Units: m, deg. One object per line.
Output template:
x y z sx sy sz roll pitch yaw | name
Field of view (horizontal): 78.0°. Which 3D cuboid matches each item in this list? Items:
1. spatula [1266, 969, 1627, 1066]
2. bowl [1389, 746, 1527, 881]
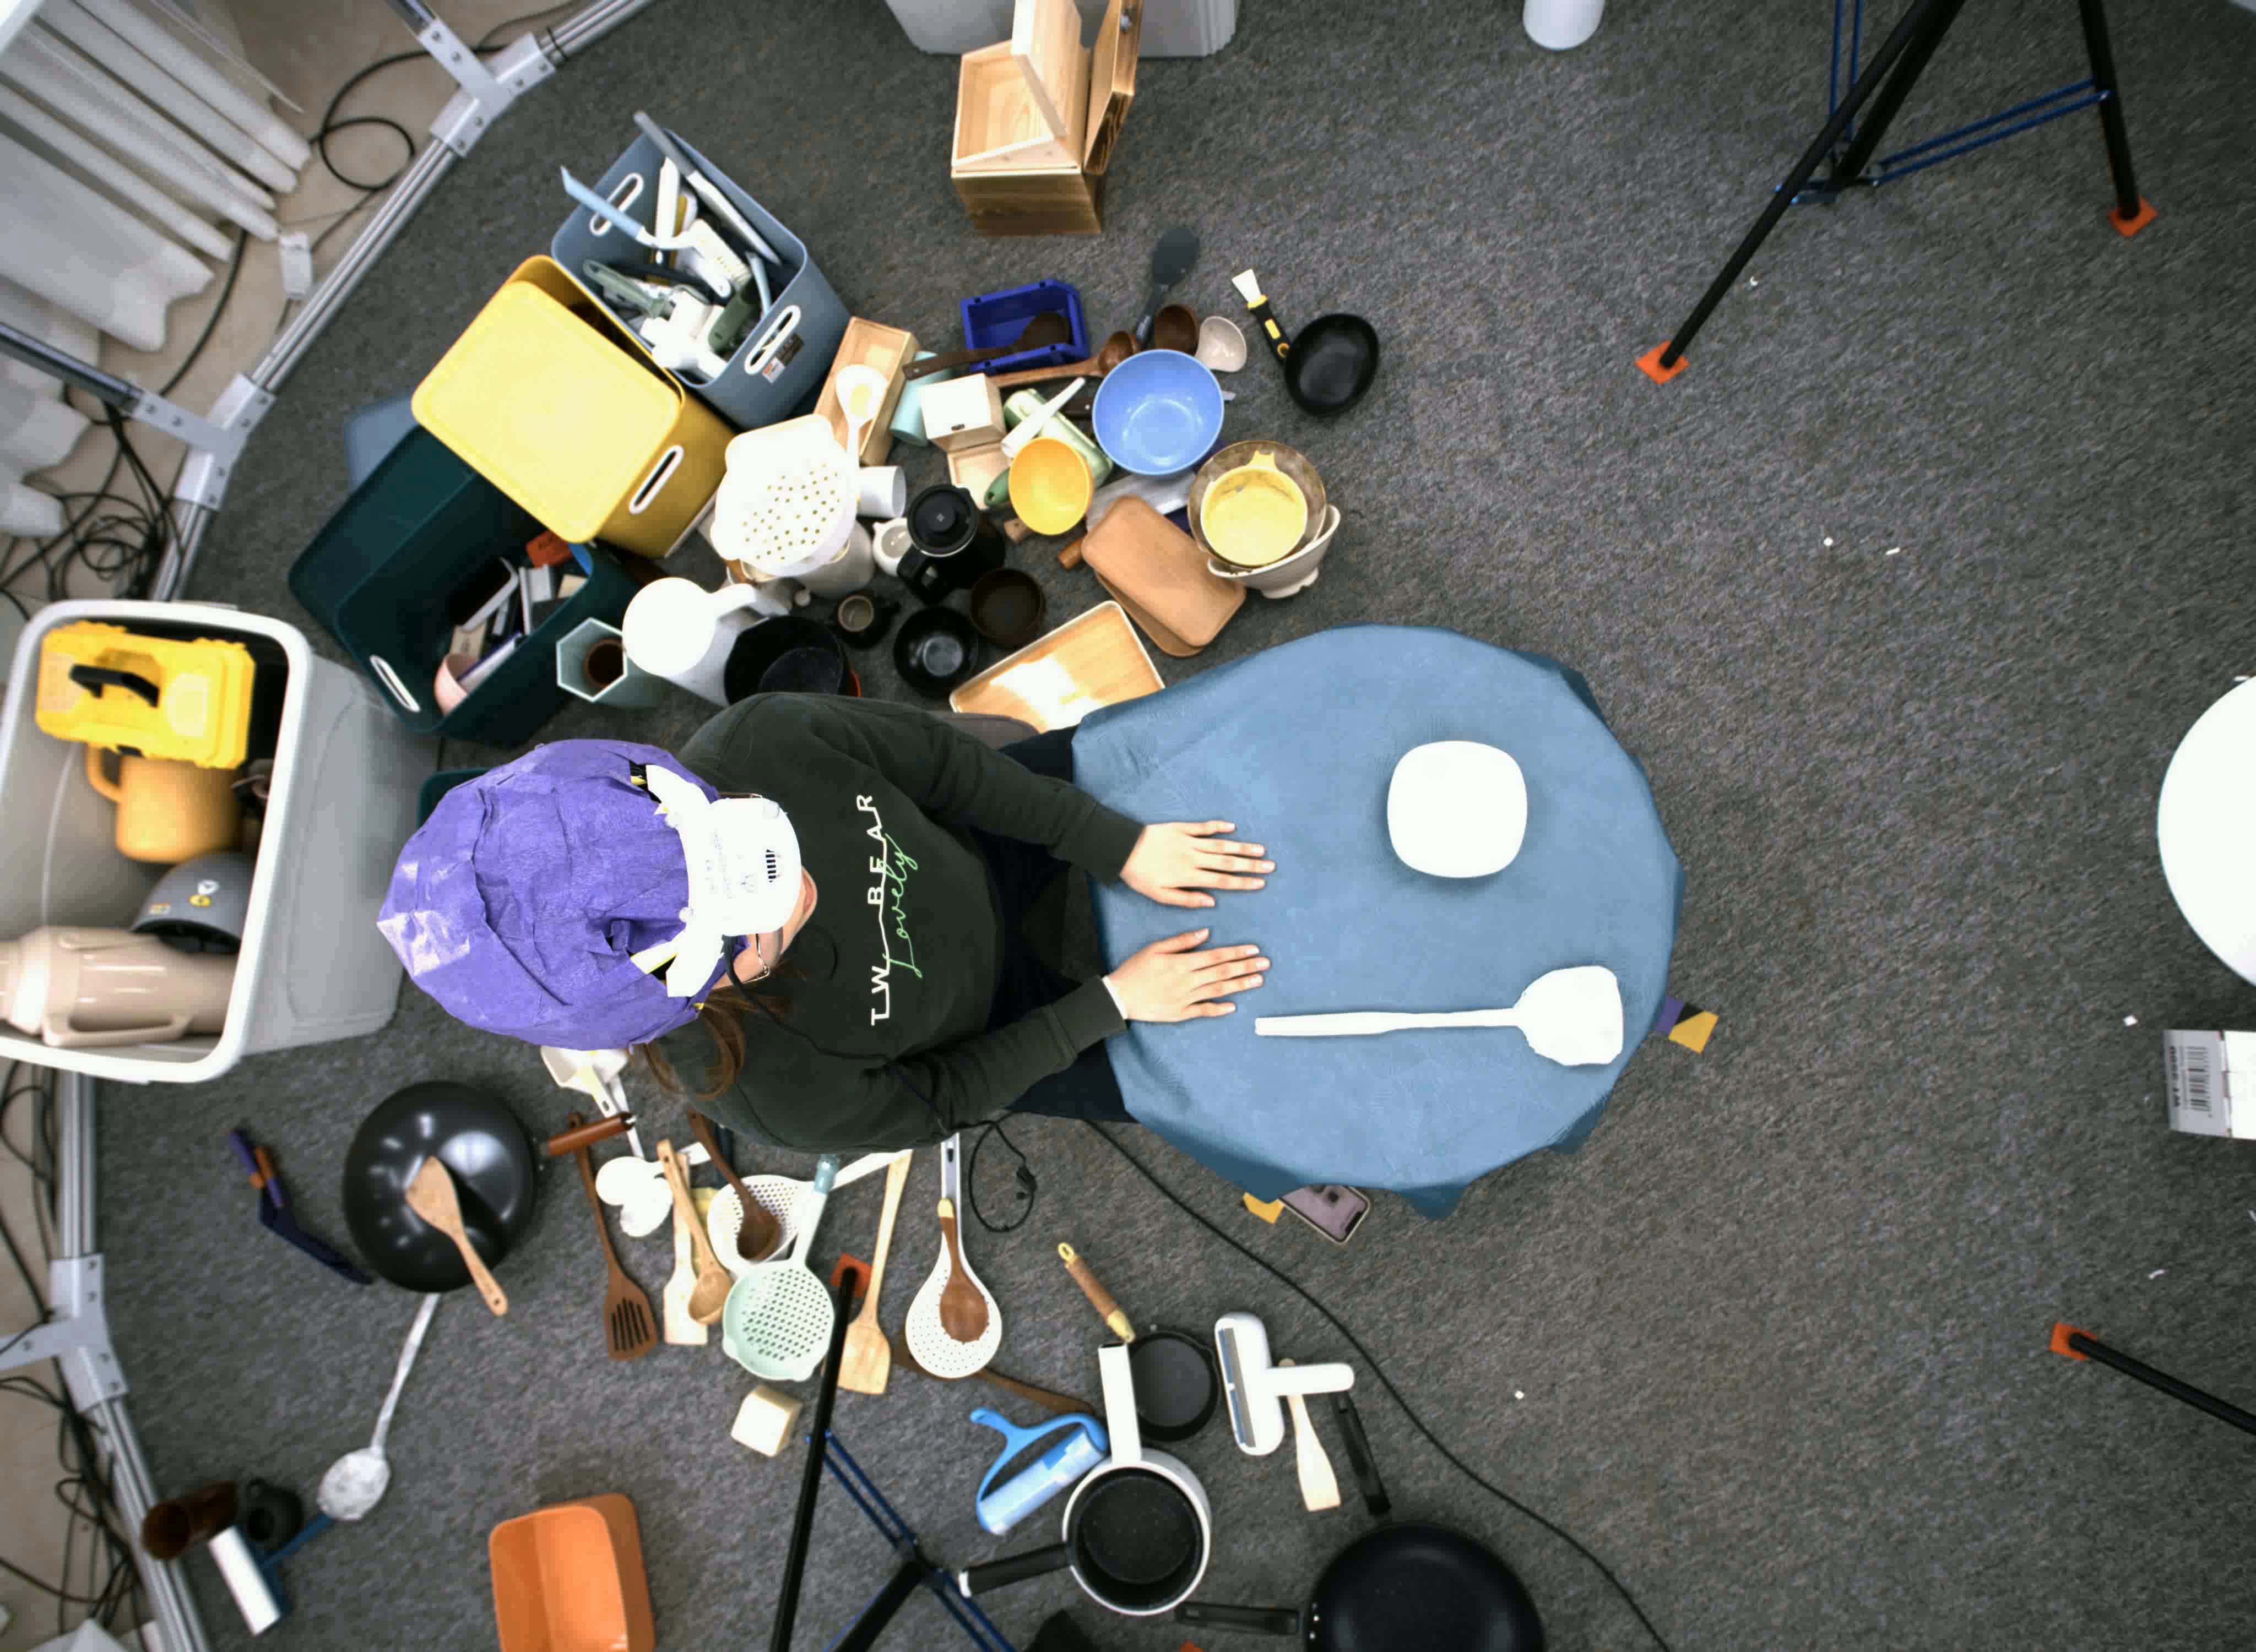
0.323 0.197 1.427 0.366 0.045 0.098 -2 87 10 | spatula
0.341 -0.011 1.431 0.152 0.059 0.150 -1 84 10 | bowl
